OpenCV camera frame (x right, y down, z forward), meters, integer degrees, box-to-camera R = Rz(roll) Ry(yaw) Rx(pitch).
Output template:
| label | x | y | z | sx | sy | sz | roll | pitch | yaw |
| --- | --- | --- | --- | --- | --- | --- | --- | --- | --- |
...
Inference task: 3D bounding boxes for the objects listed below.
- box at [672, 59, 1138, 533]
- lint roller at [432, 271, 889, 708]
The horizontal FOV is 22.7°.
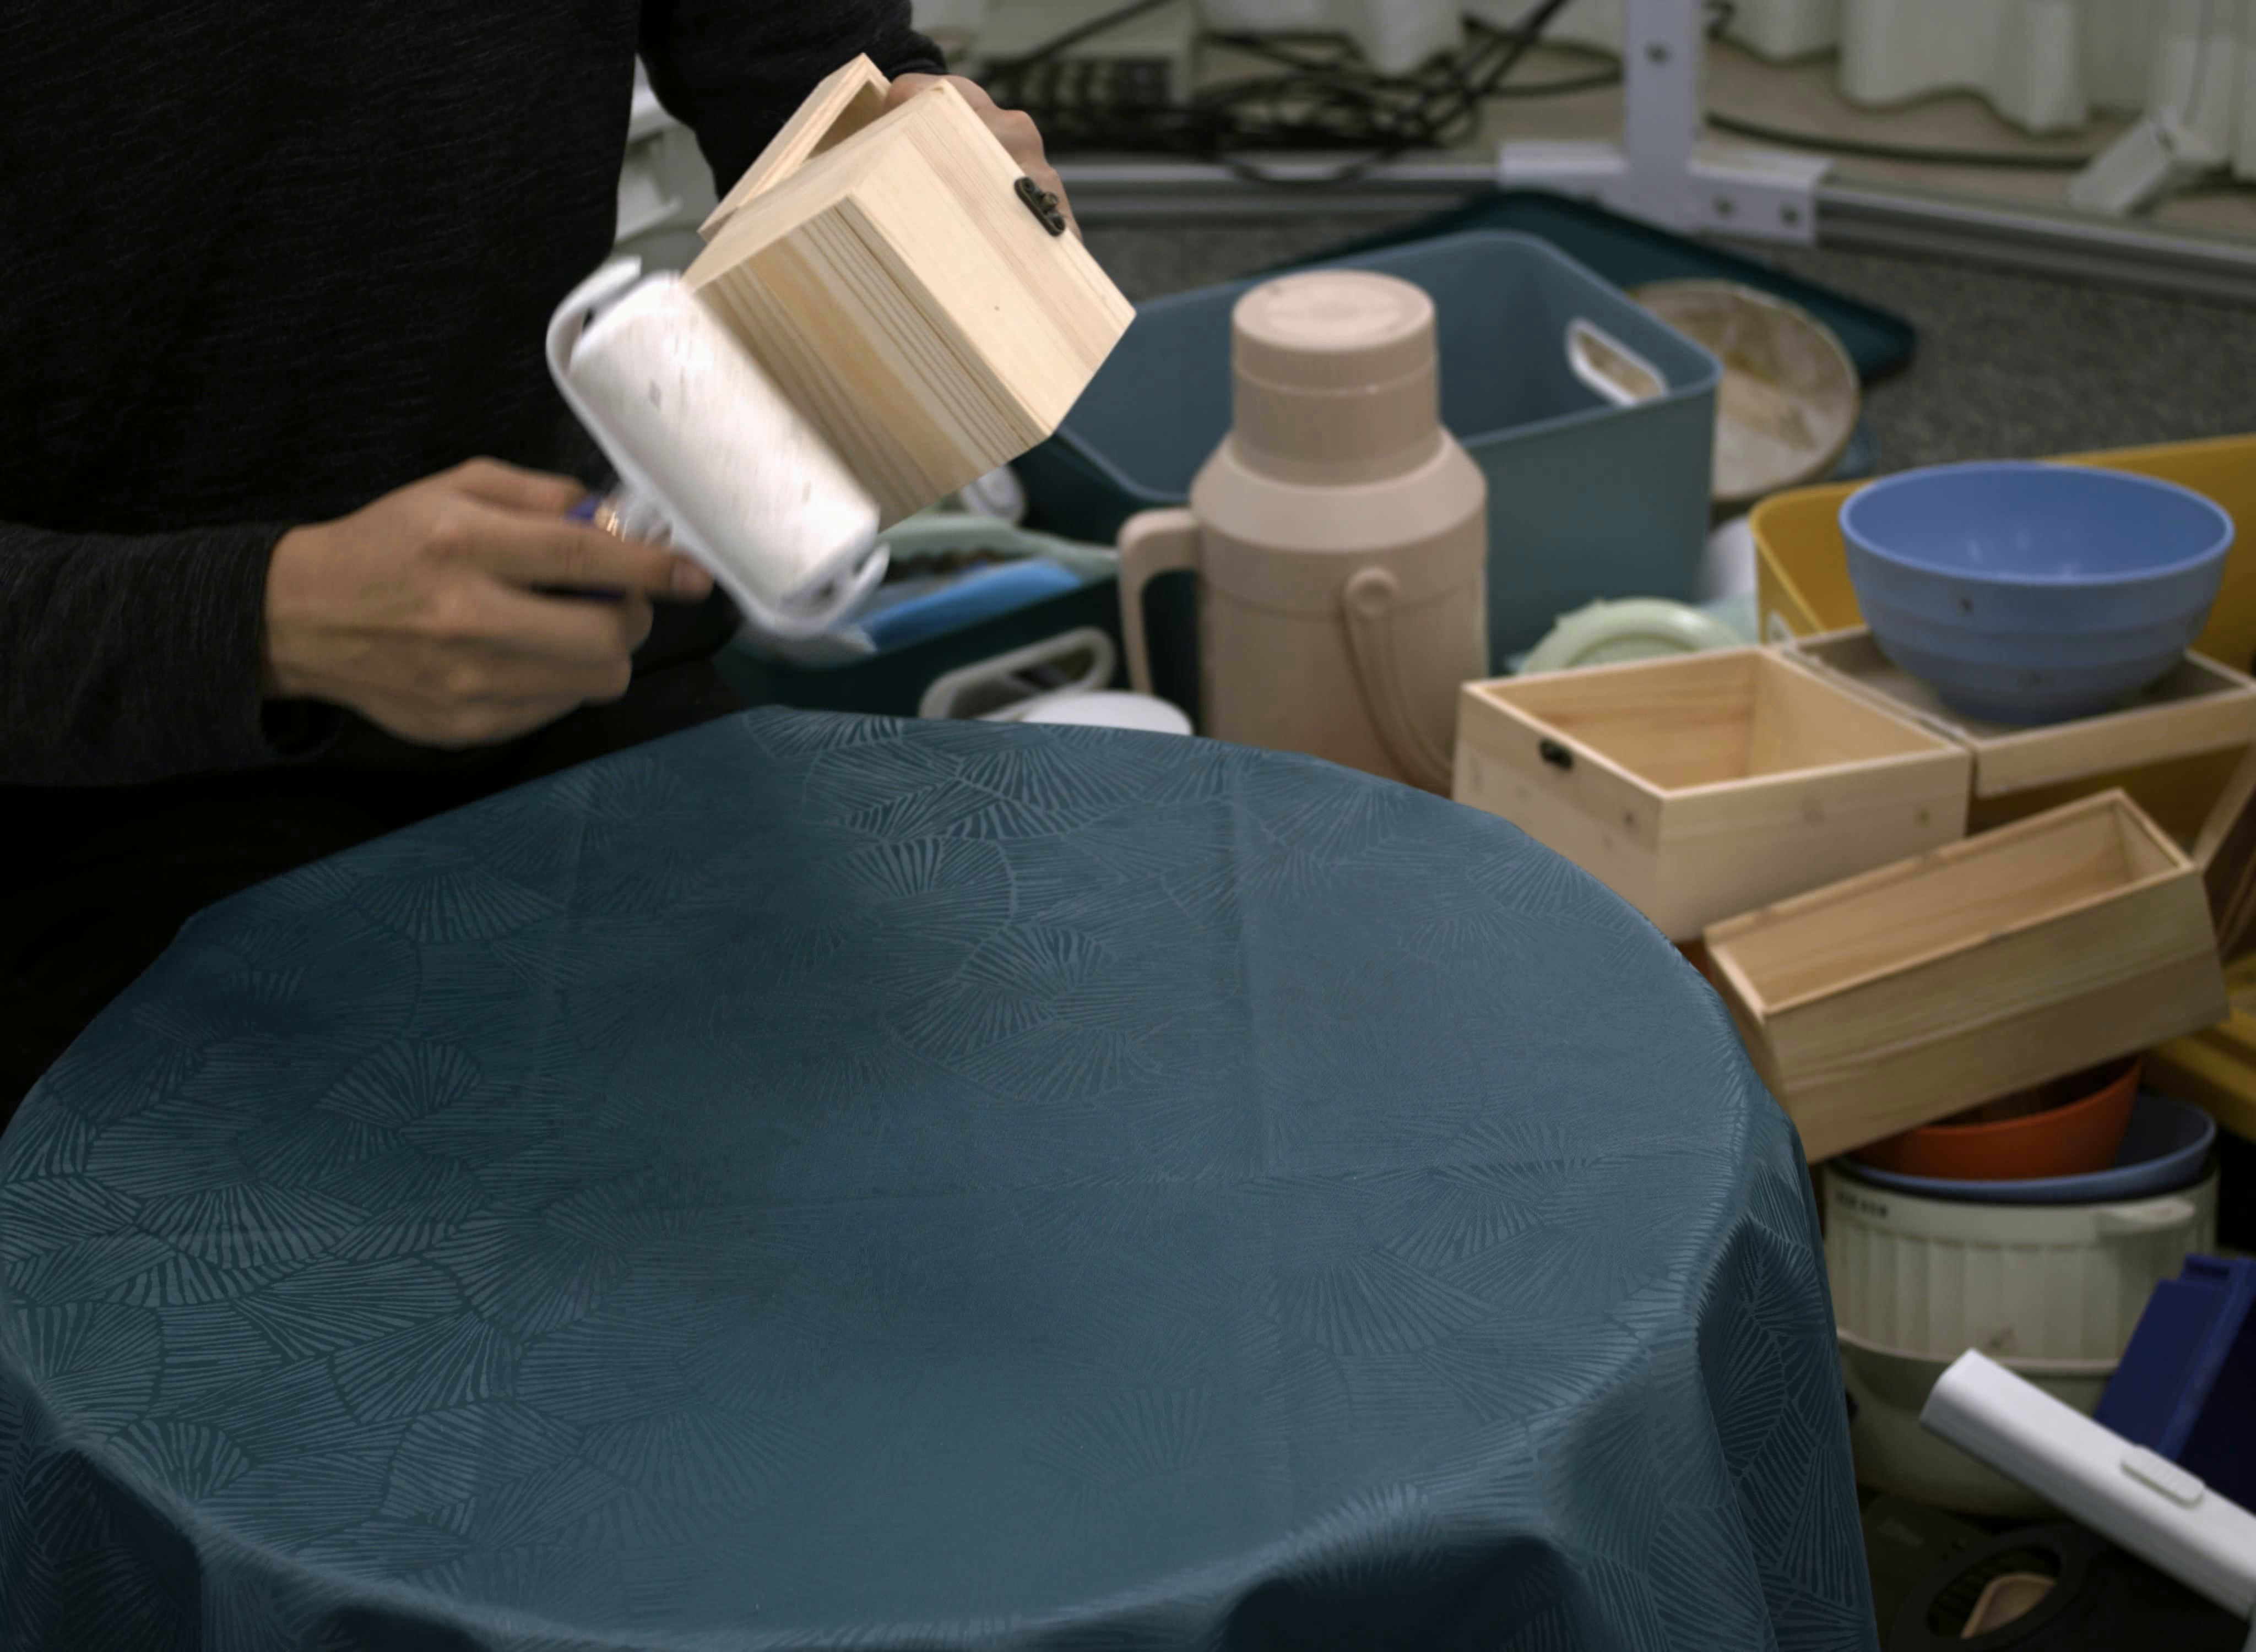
| label | x | y | z | sx | sy | sz | roll | pitch | yaw |
| --- | --- | --- | --- | --- | --- | --- | --- | --- | --- |
| box | -0.062 | -0.193 | 1.873 | 0.132 | 0.102 | 0.188 | -28 | 19 | 38 |
| lint roller | -0.173 | -0.085 | 1.808 | 0.178 | 0.133 | 0.051 | -35 | 8 | 29 |
